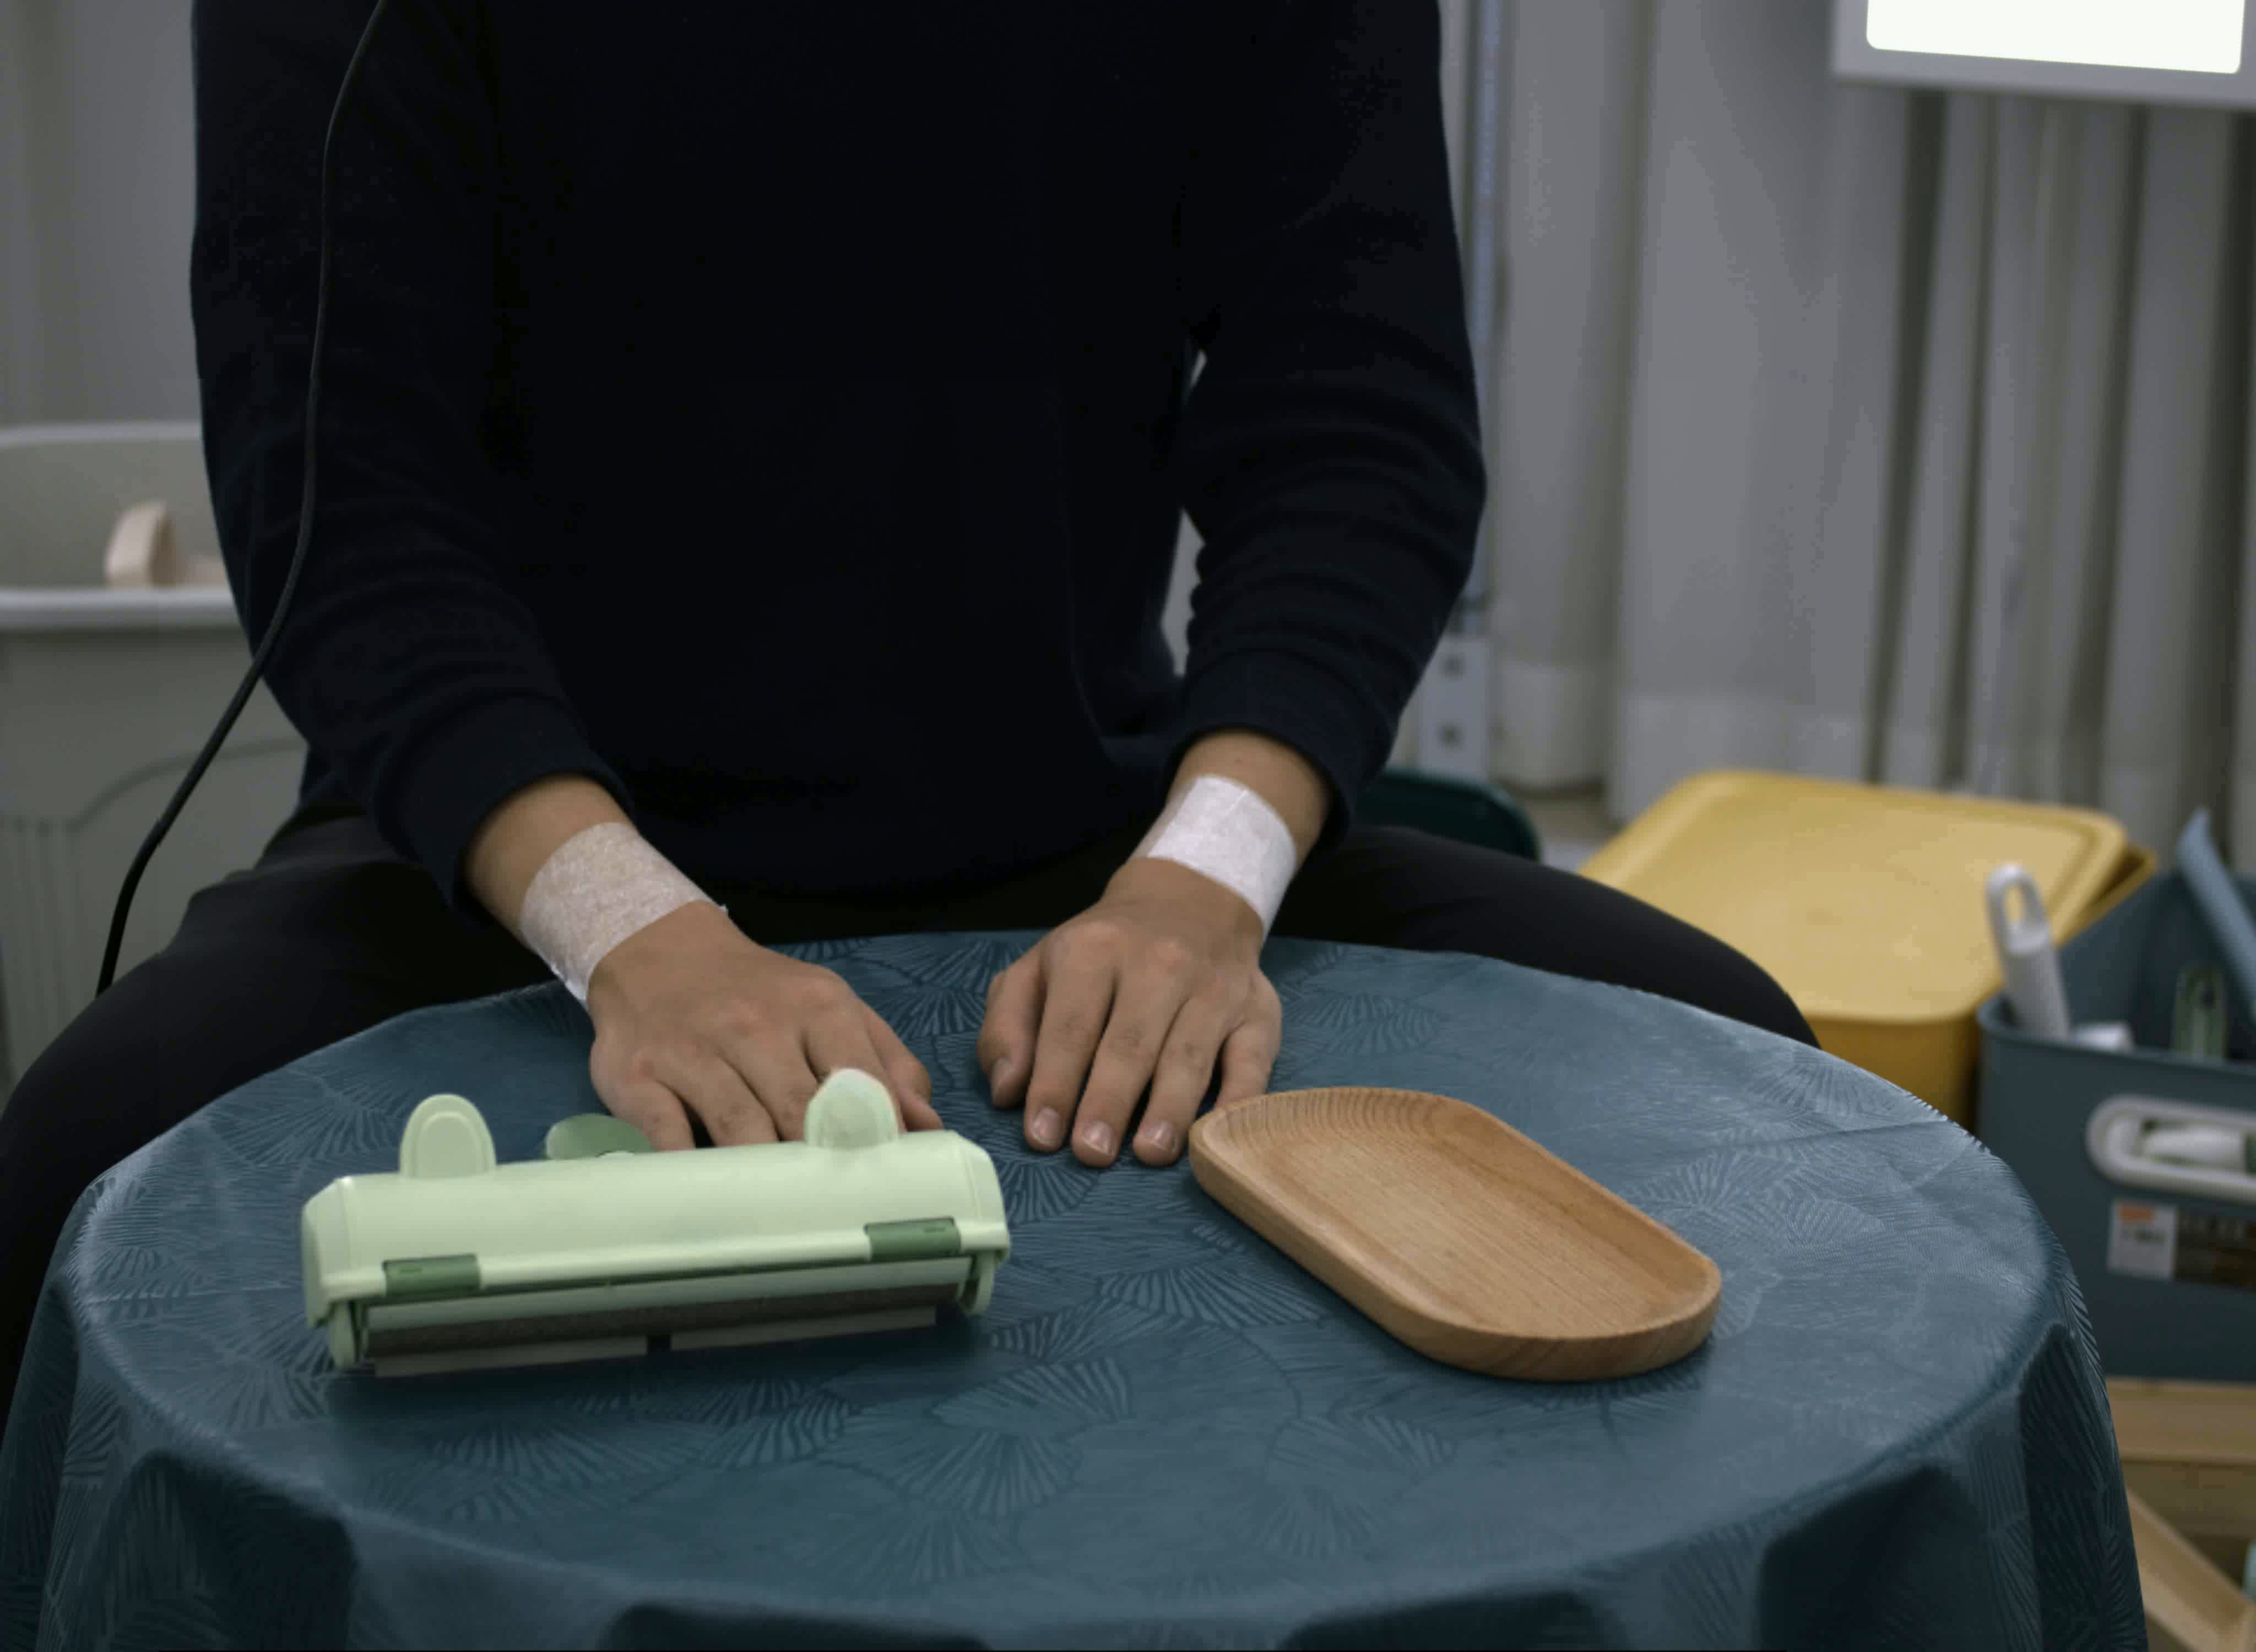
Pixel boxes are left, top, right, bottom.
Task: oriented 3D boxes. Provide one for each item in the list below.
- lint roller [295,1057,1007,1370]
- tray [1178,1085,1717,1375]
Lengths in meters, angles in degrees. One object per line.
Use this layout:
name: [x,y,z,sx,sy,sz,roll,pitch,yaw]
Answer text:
lint roller: [-0.149,0.091,1.529,0.199,0.083,0.181,-3,22,-16]
tray: [0.092,0.118,1.573,0.102,0.020,0.228,-6,15,-23]
